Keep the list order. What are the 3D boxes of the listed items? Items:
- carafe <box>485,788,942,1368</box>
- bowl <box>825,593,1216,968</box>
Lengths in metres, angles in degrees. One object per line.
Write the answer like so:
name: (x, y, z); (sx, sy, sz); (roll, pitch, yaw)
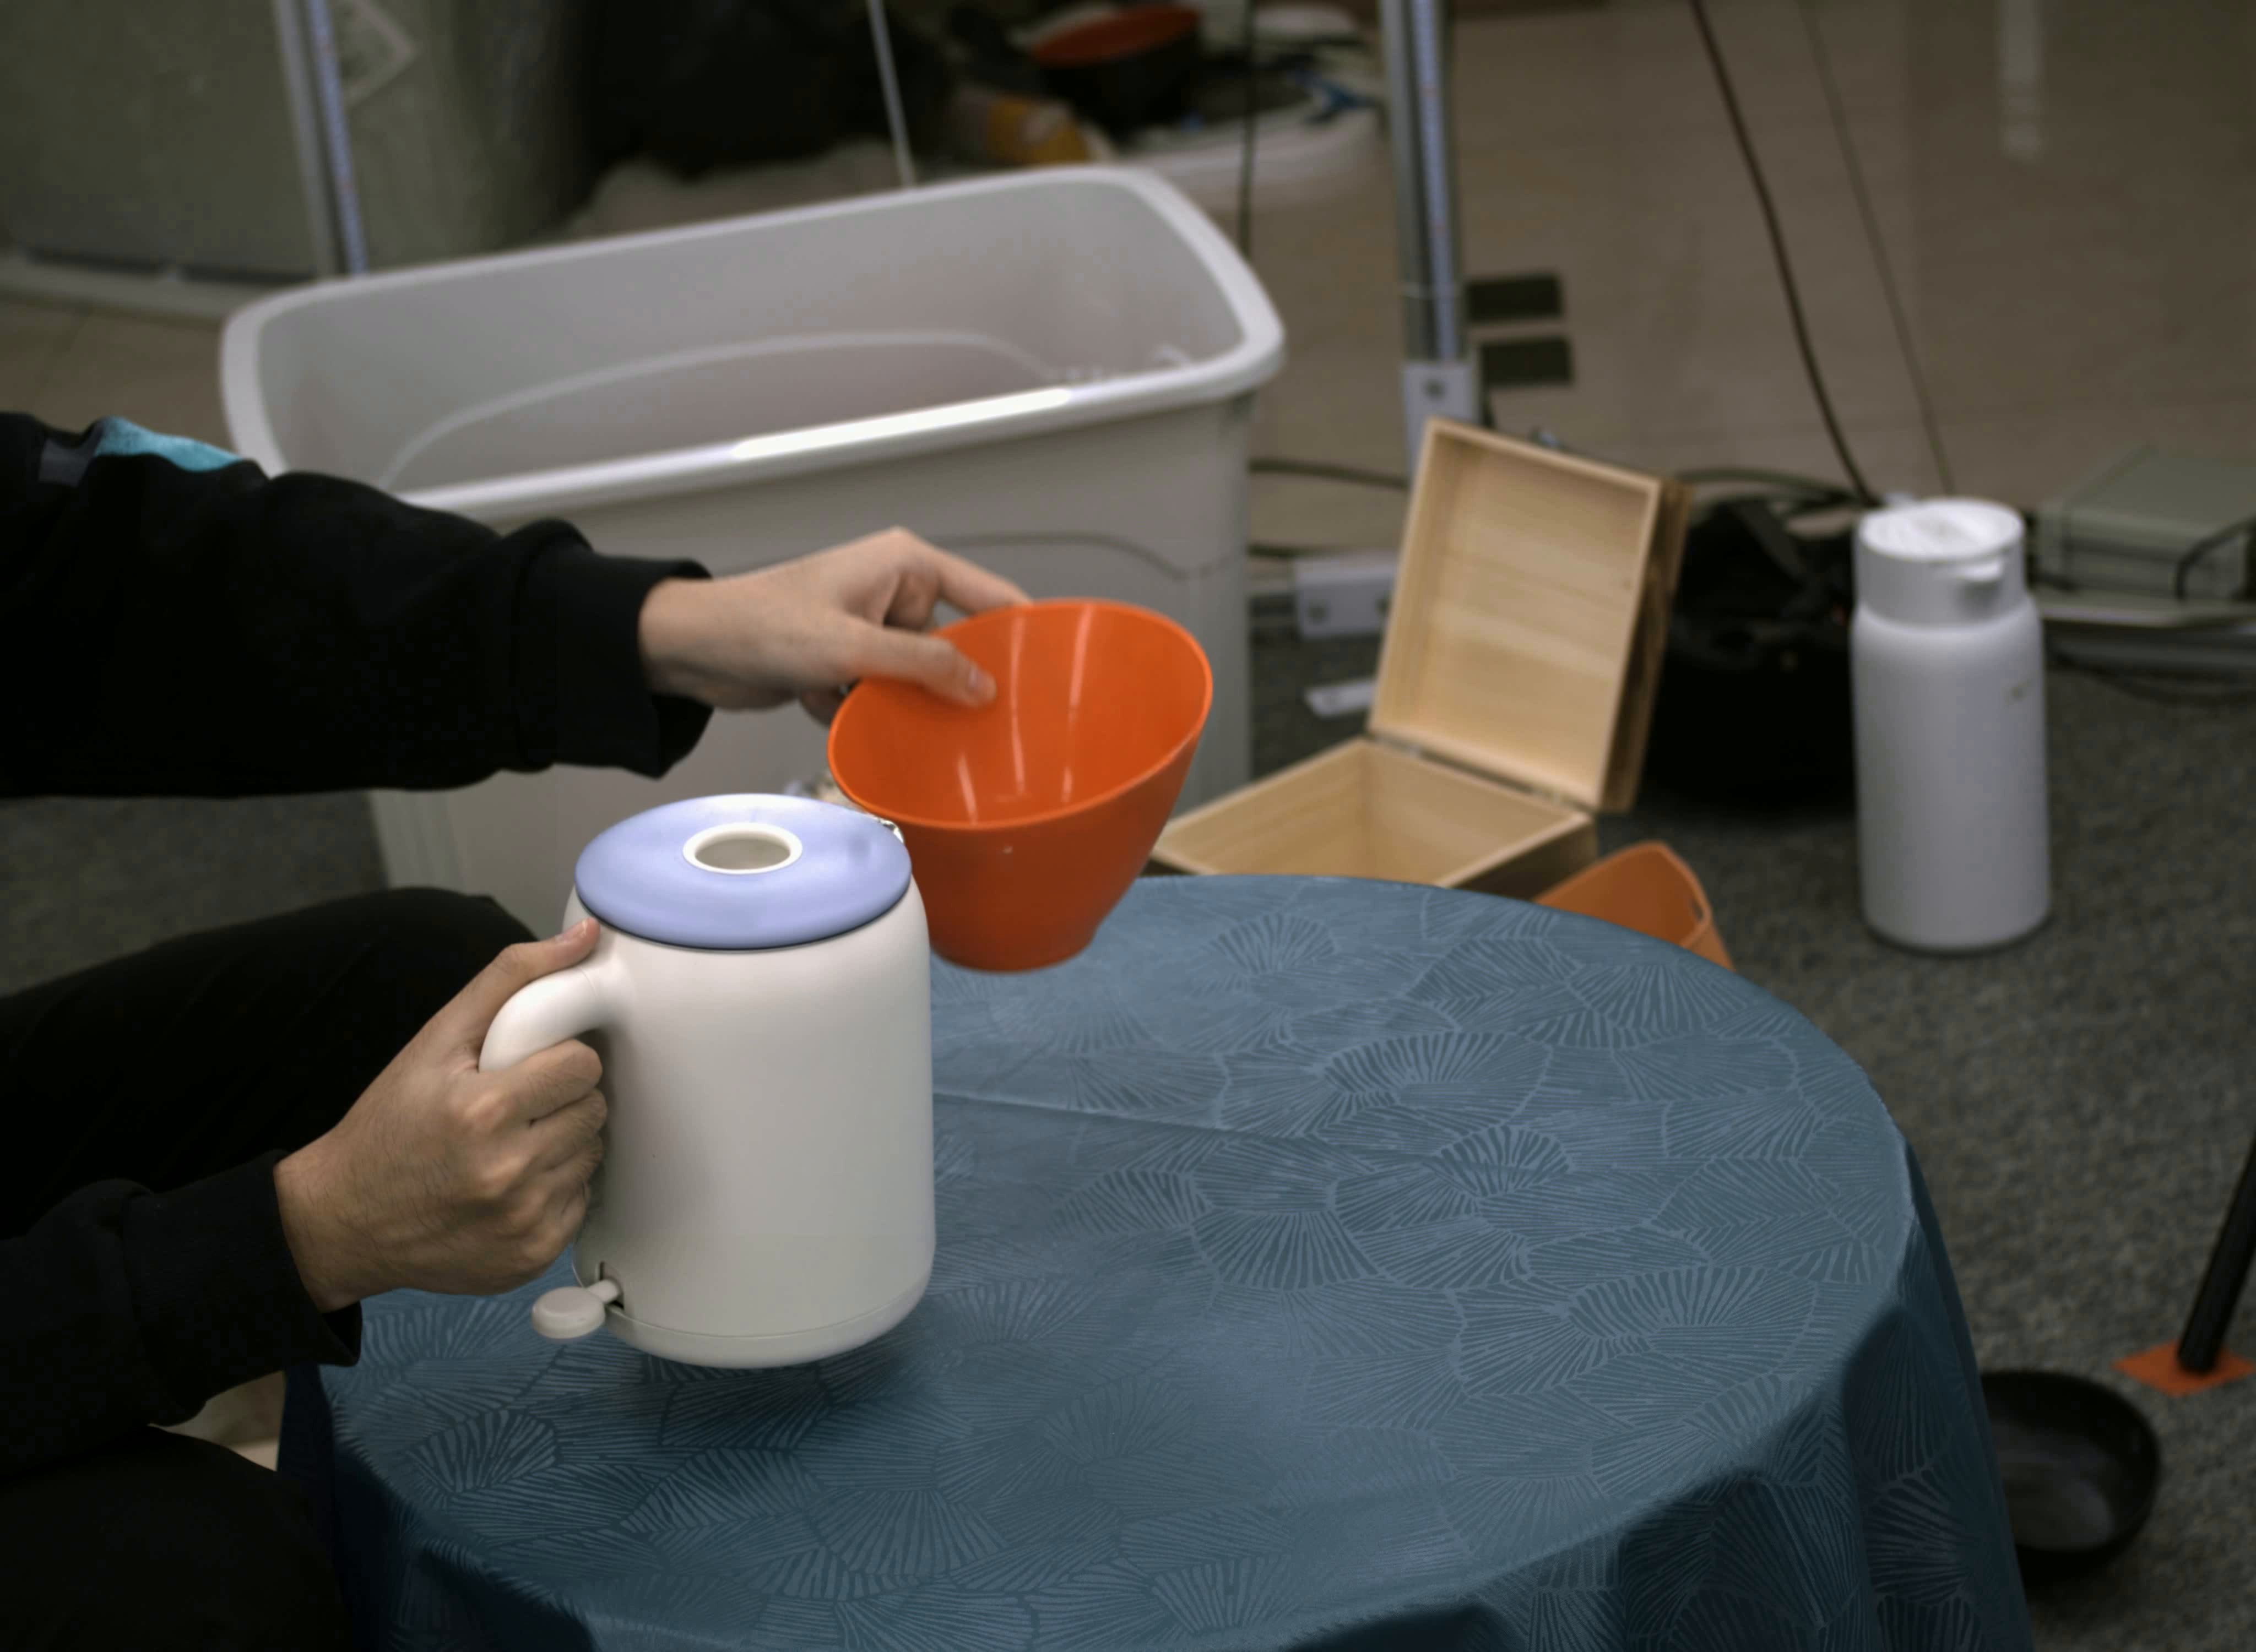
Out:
carafe: (-0.152, 0.097, 1.999); (0.189, 0.185, 0.131); (-25, 34, -37)
bowl: (-0.039, -0.011, 2.142); (0.148, 0.106, 0.145); (-1, 31, 1)
